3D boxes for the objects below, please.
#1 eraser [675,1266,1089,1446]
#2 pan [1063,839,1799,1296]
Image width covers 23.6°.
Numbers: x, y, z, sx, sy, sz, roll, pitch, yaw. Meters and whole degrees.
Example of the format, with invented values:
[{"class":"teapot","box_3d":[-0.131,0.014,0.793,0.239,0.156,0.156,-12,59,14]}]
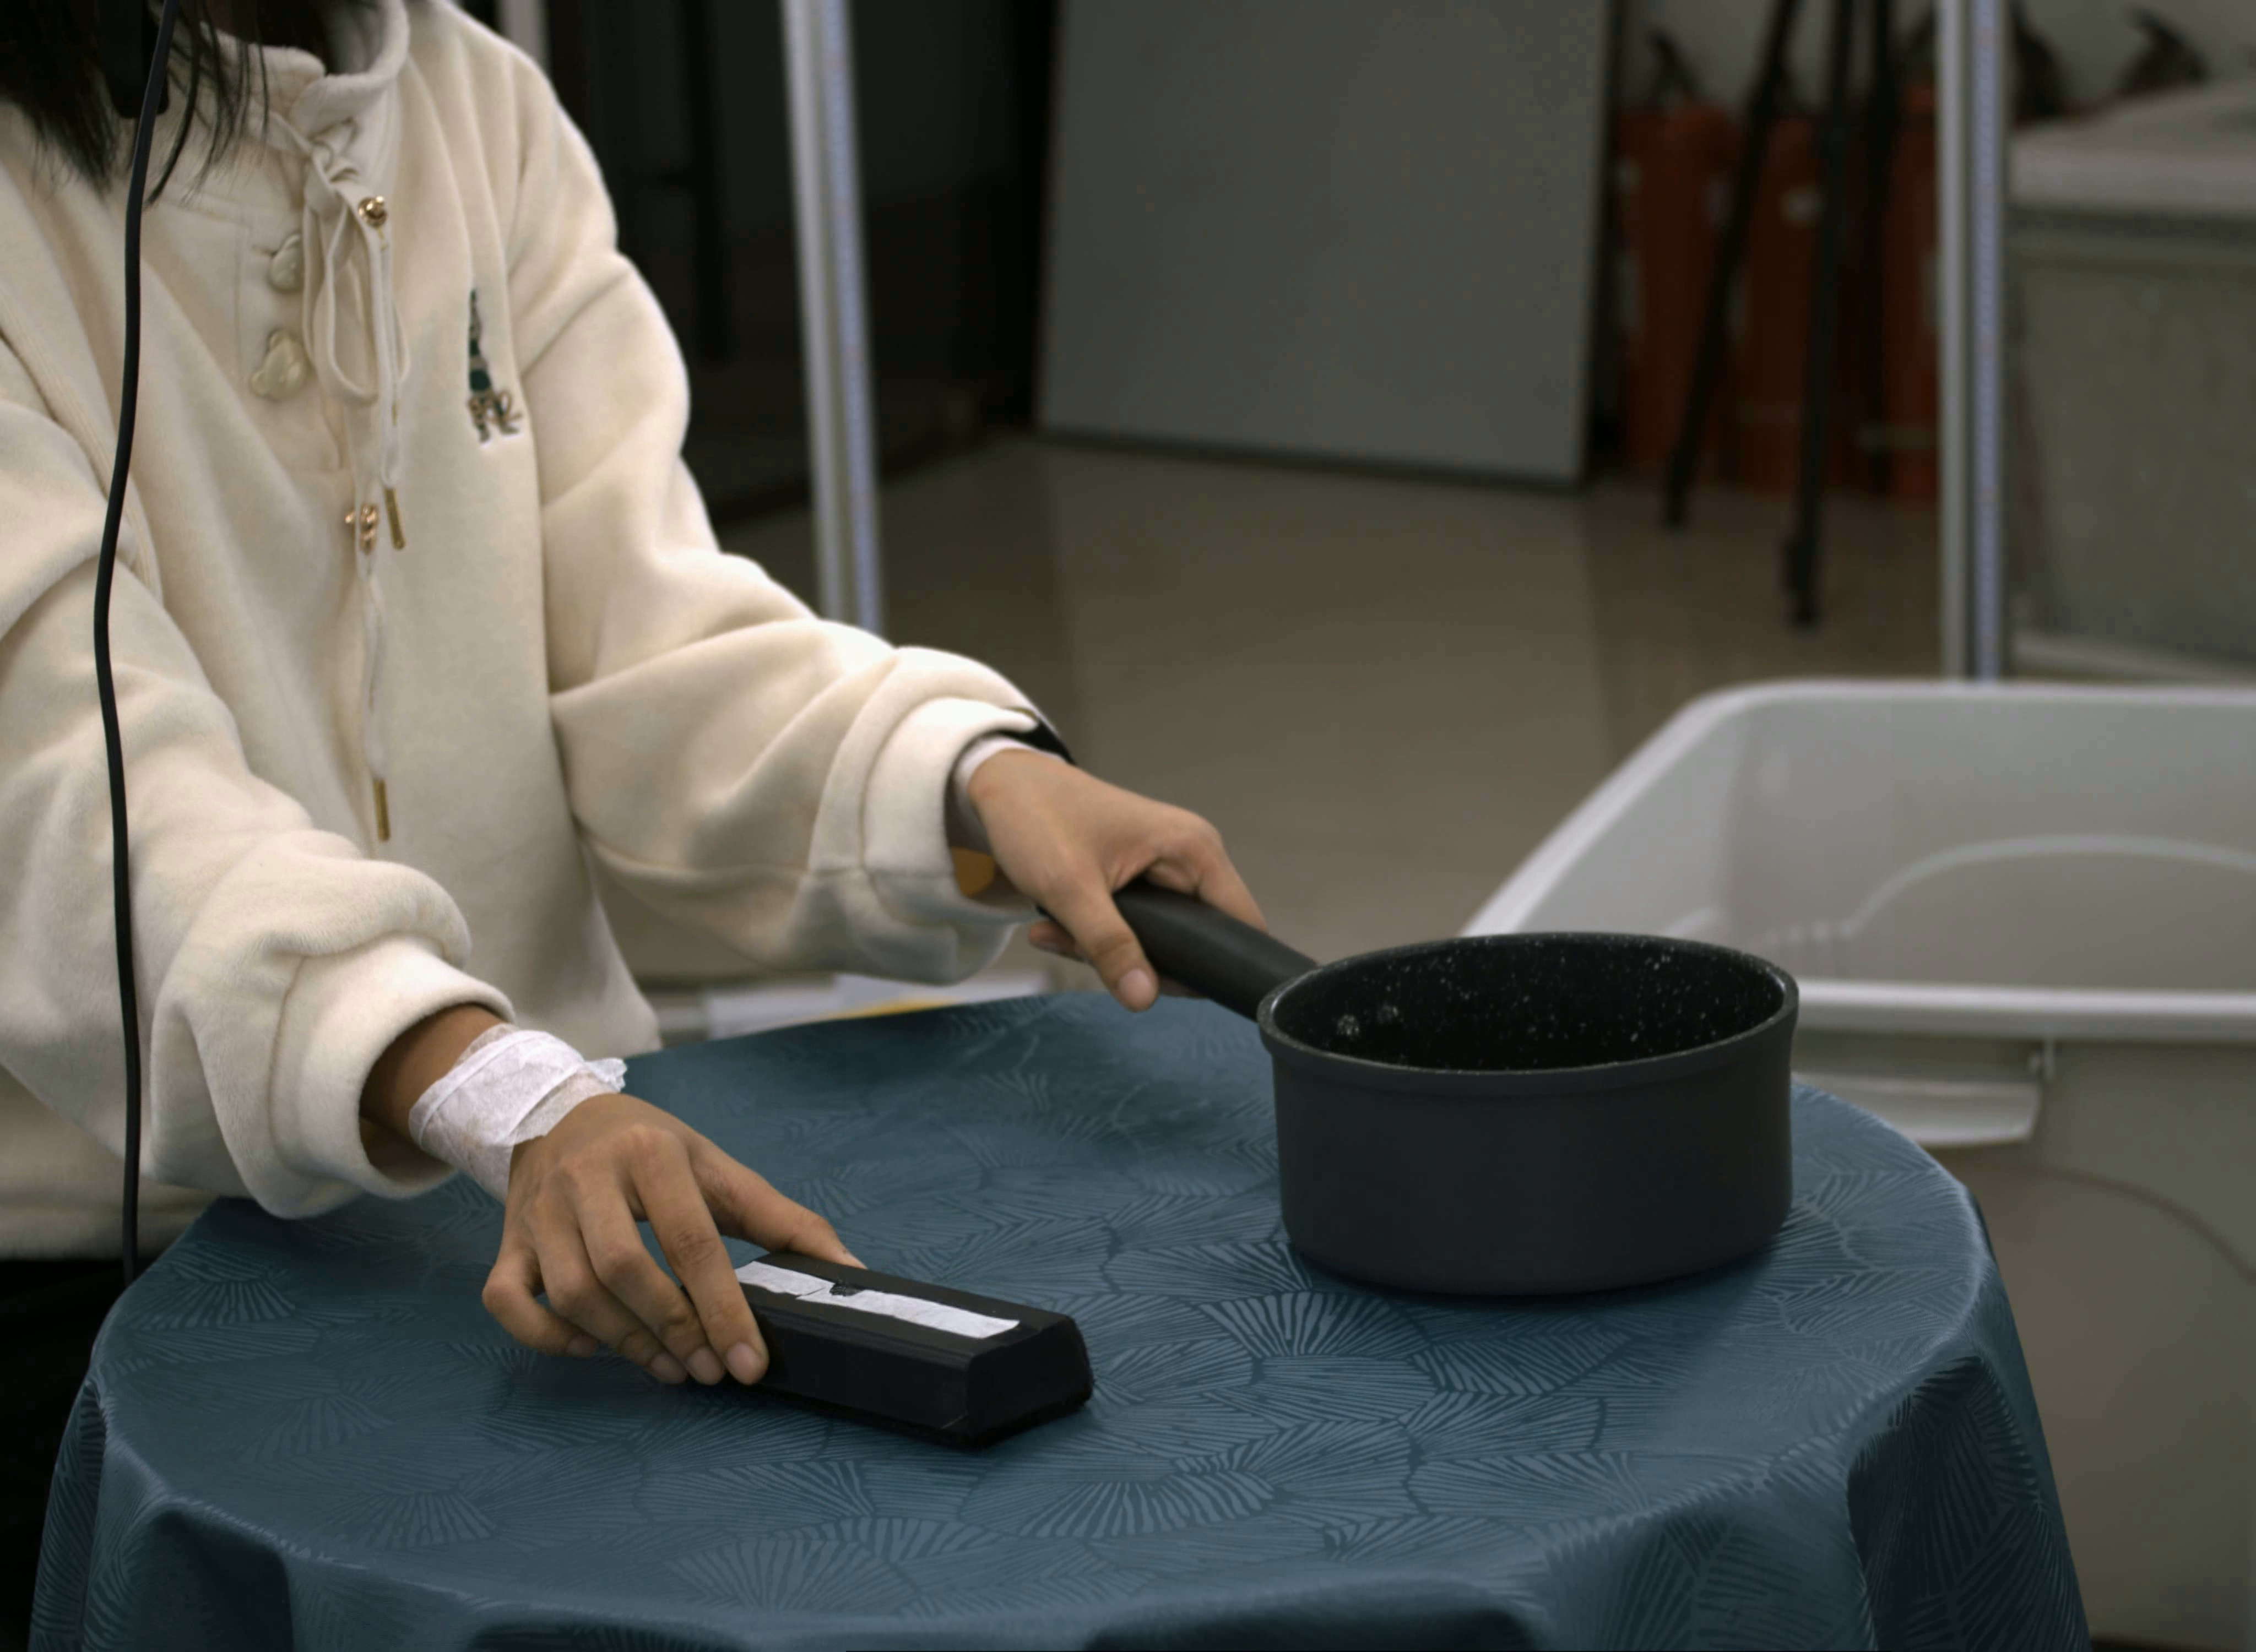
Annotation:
[{"class":"eraser","box_3d":[-0.072,0.155,1.594,0.126,0.031,0.052,6,13,42]},{"class":"pan","box_3d":[0.082,0.074,1.758,0.168,0.087,0.332,-11,15,-33]}]
